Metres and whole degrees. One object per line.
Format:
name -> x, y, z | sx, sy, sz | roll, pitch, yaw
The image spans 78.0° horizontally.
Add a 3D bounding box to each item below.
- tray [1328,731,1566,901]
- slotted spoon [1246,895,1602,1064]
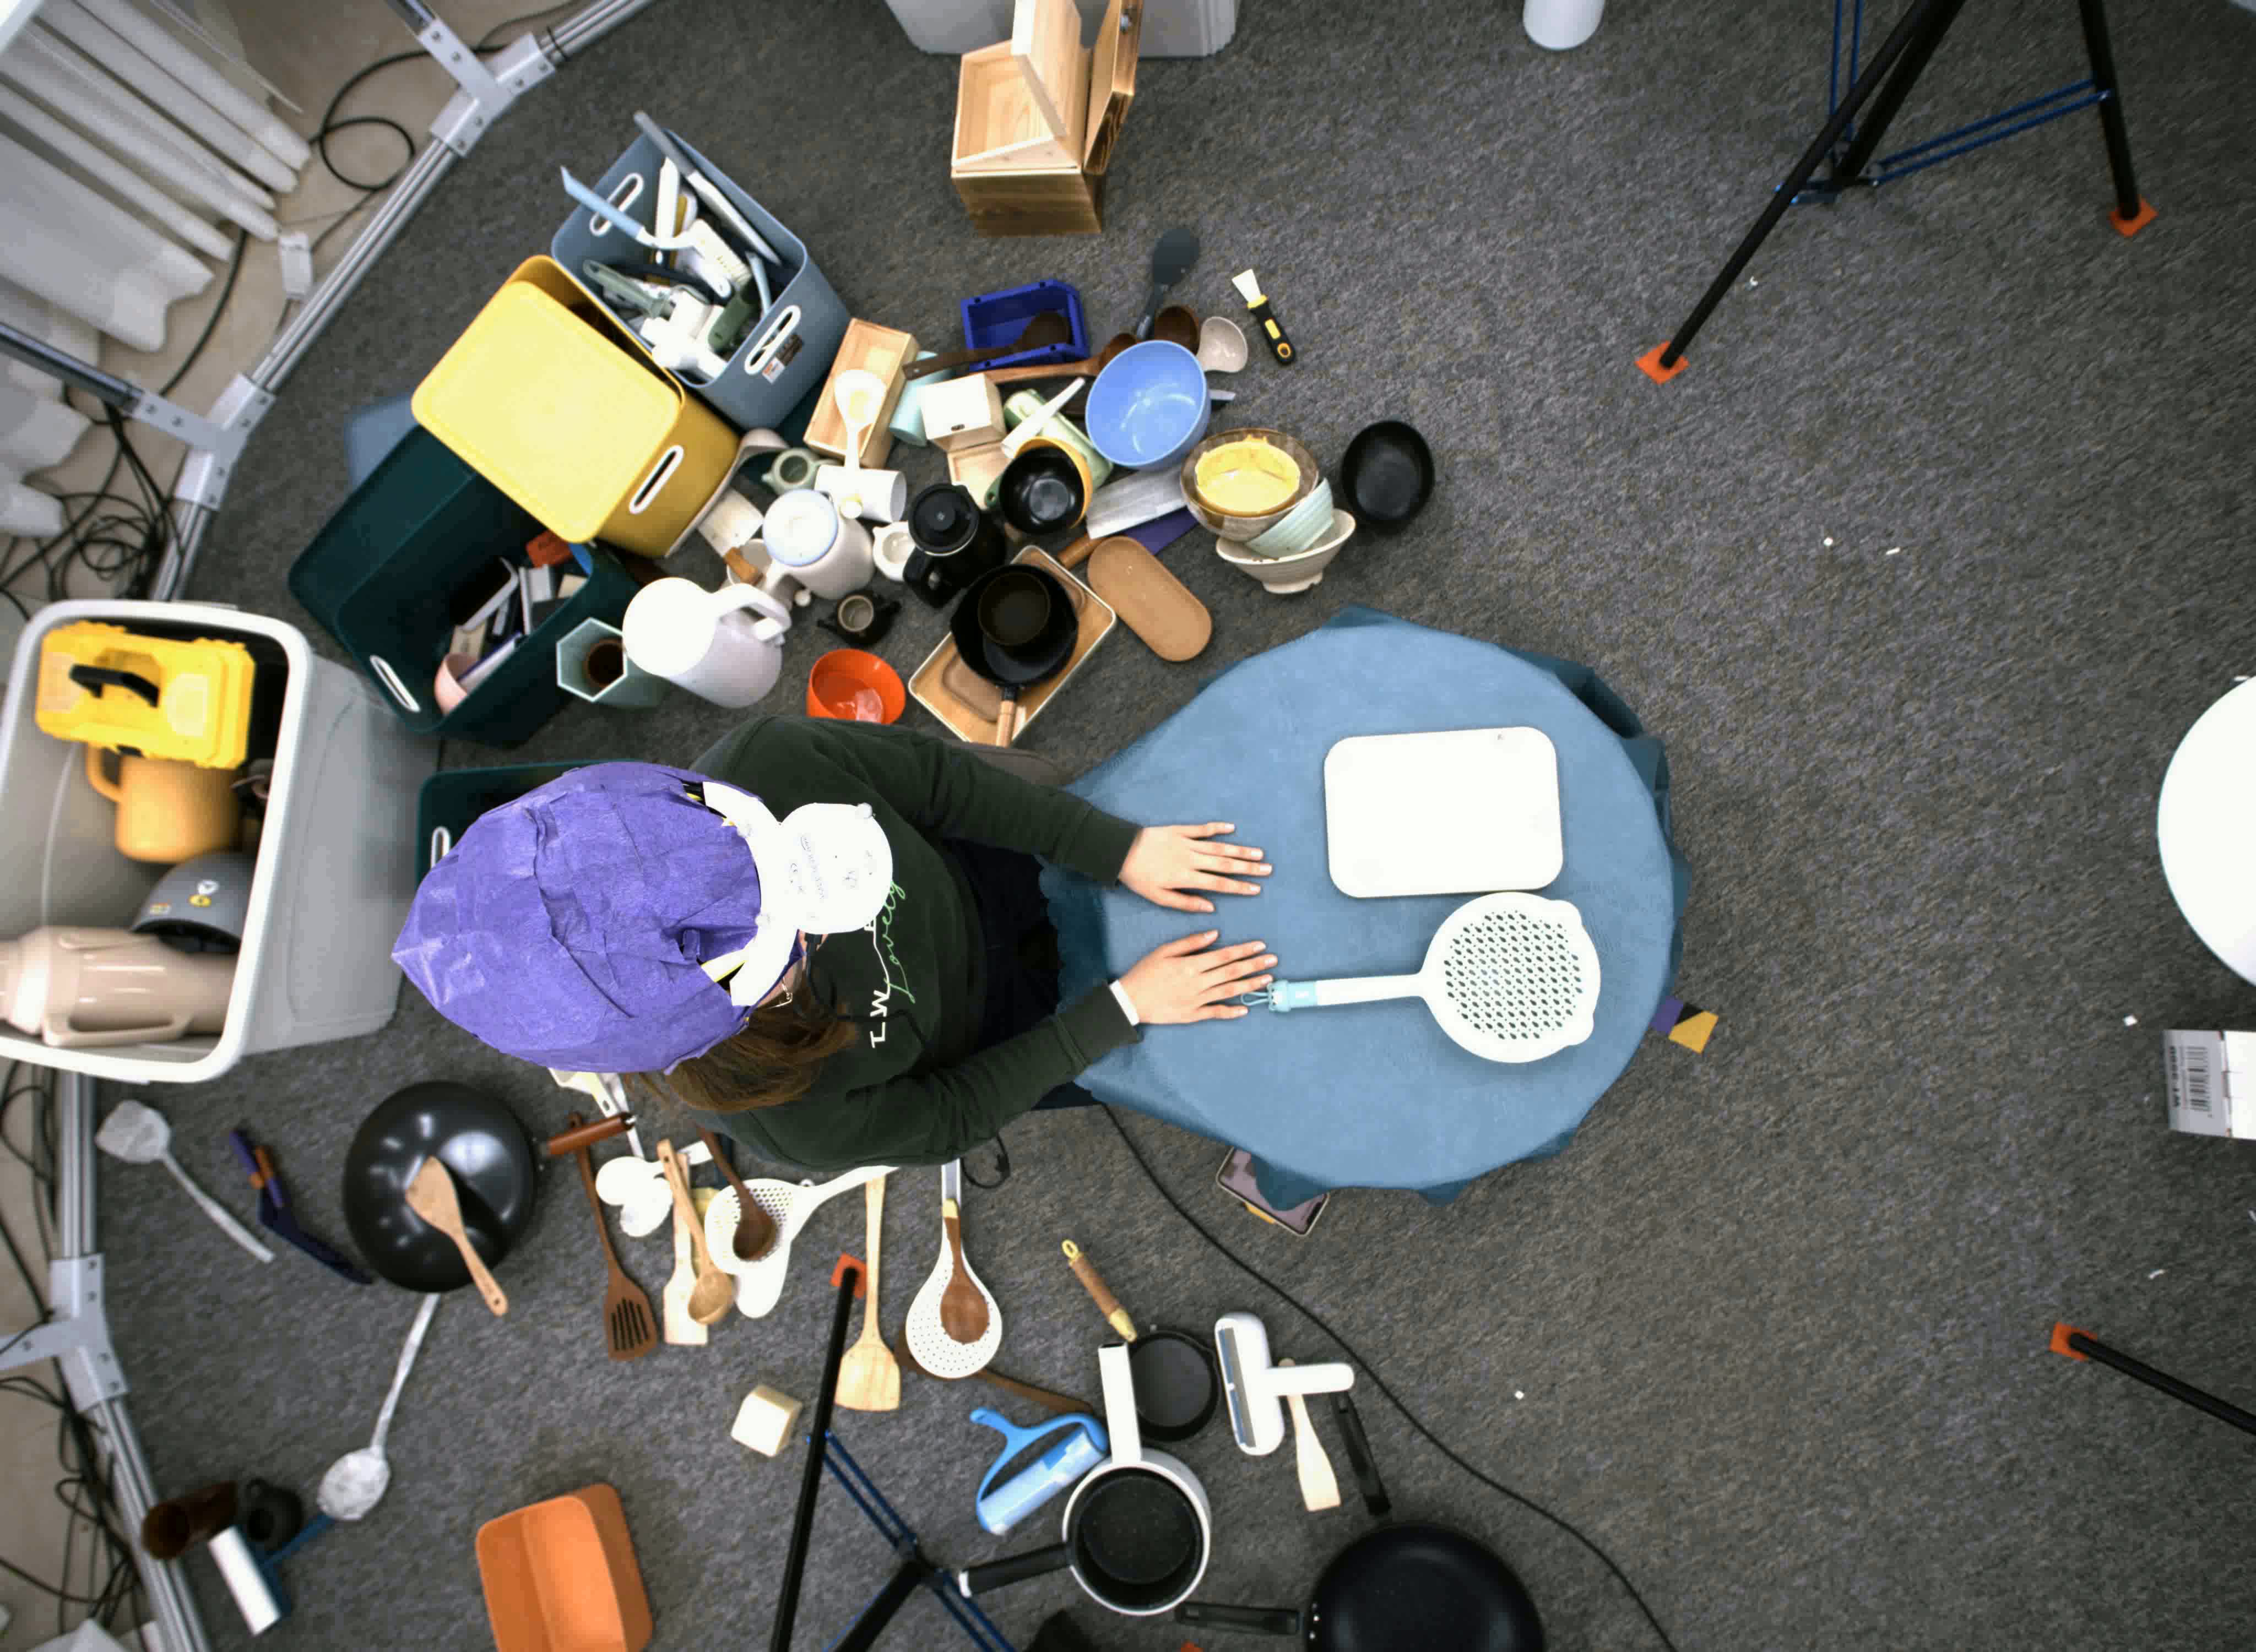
tray -> 0.334, -0.011, 1.451 | 0.241, 0.017, 0.170 | -4, 85, 11
slotted spoon -> 0.297, 0.164, 1.422 | 0.360, 0.075, 0.168 | -6, 84, 11
